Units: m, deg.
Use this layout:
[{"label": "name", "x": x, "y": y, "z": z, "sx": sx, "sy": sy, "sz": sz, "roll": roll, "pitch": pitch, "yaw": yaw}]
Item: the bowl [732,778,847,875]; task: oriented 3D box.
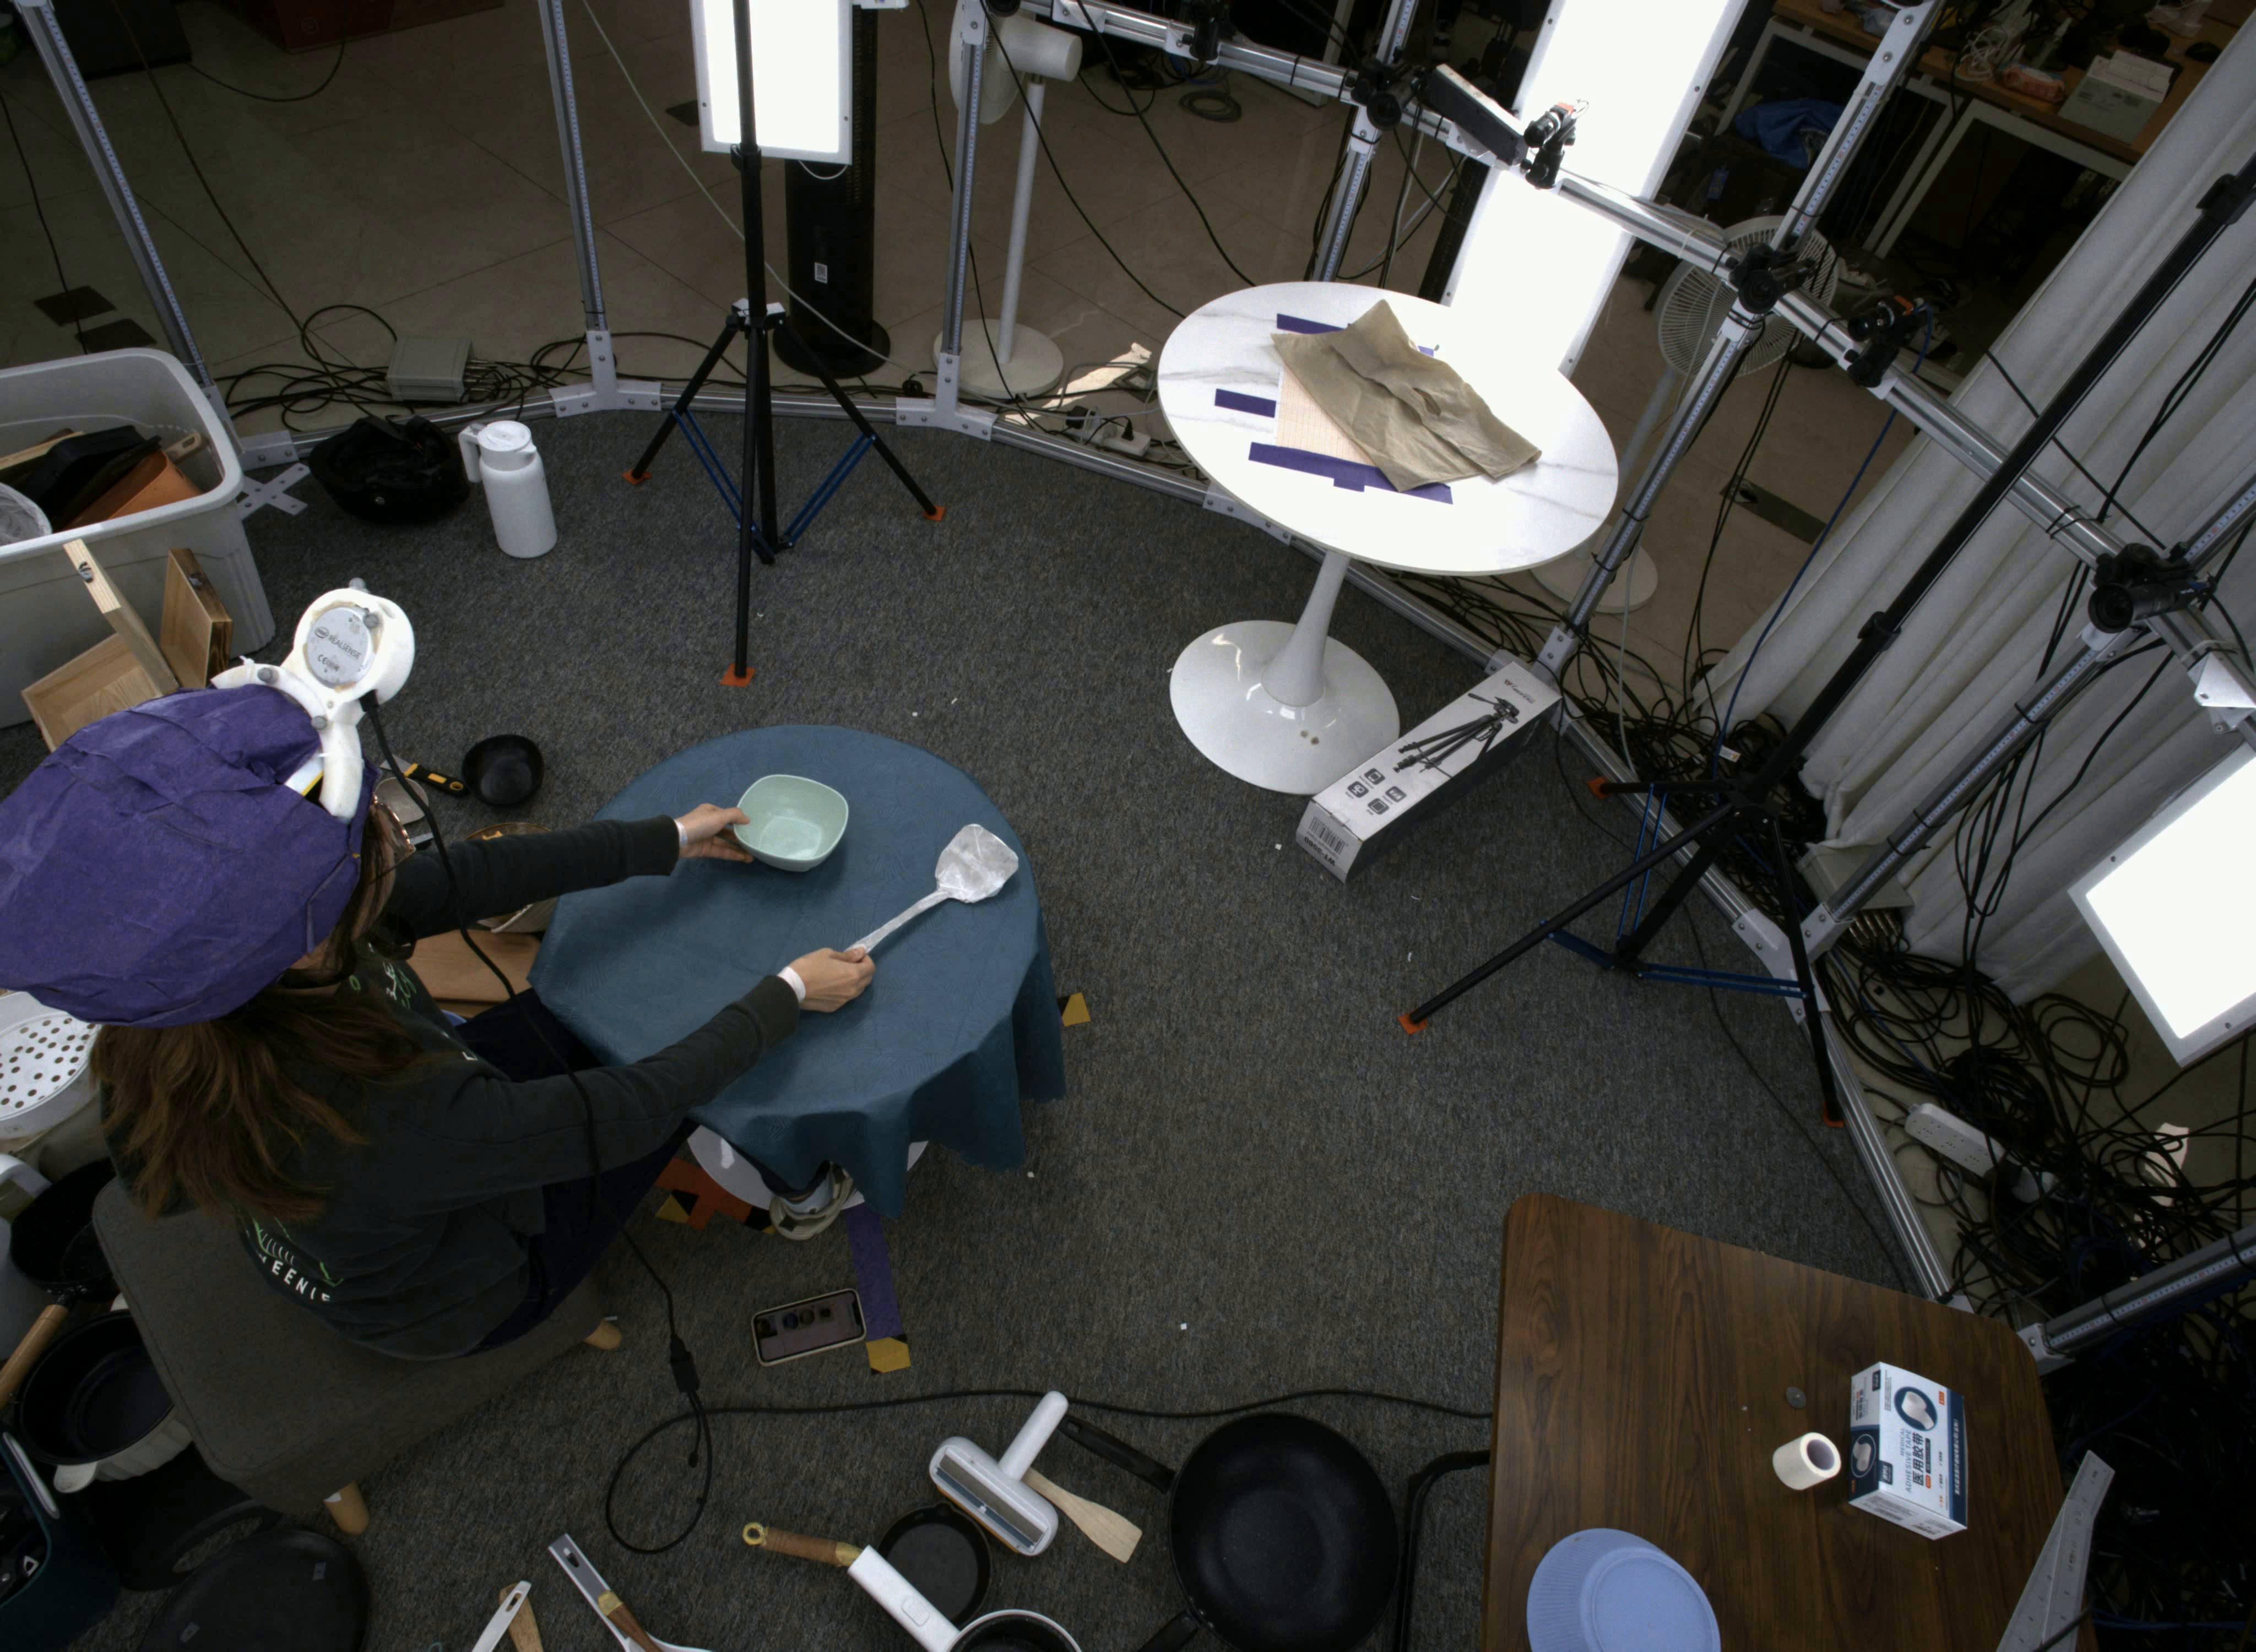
[{"label": "bowl", "x": -0.438, "y": 0.009, "z": 1.682, "sx": 0.151, "sy": 0.060, "sz": 0.148, "roll": 9, "pitch": 47, "yaw": -9}]

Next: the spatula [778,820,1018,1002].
[{"label": "spatula", "x": -0.291, "y": 0.113, "z": 1.647, "sx": 0.097, "sy": 0.045, "sz": 0.366, "roll": 41, "pitch": 51, "yaw": 15}]
